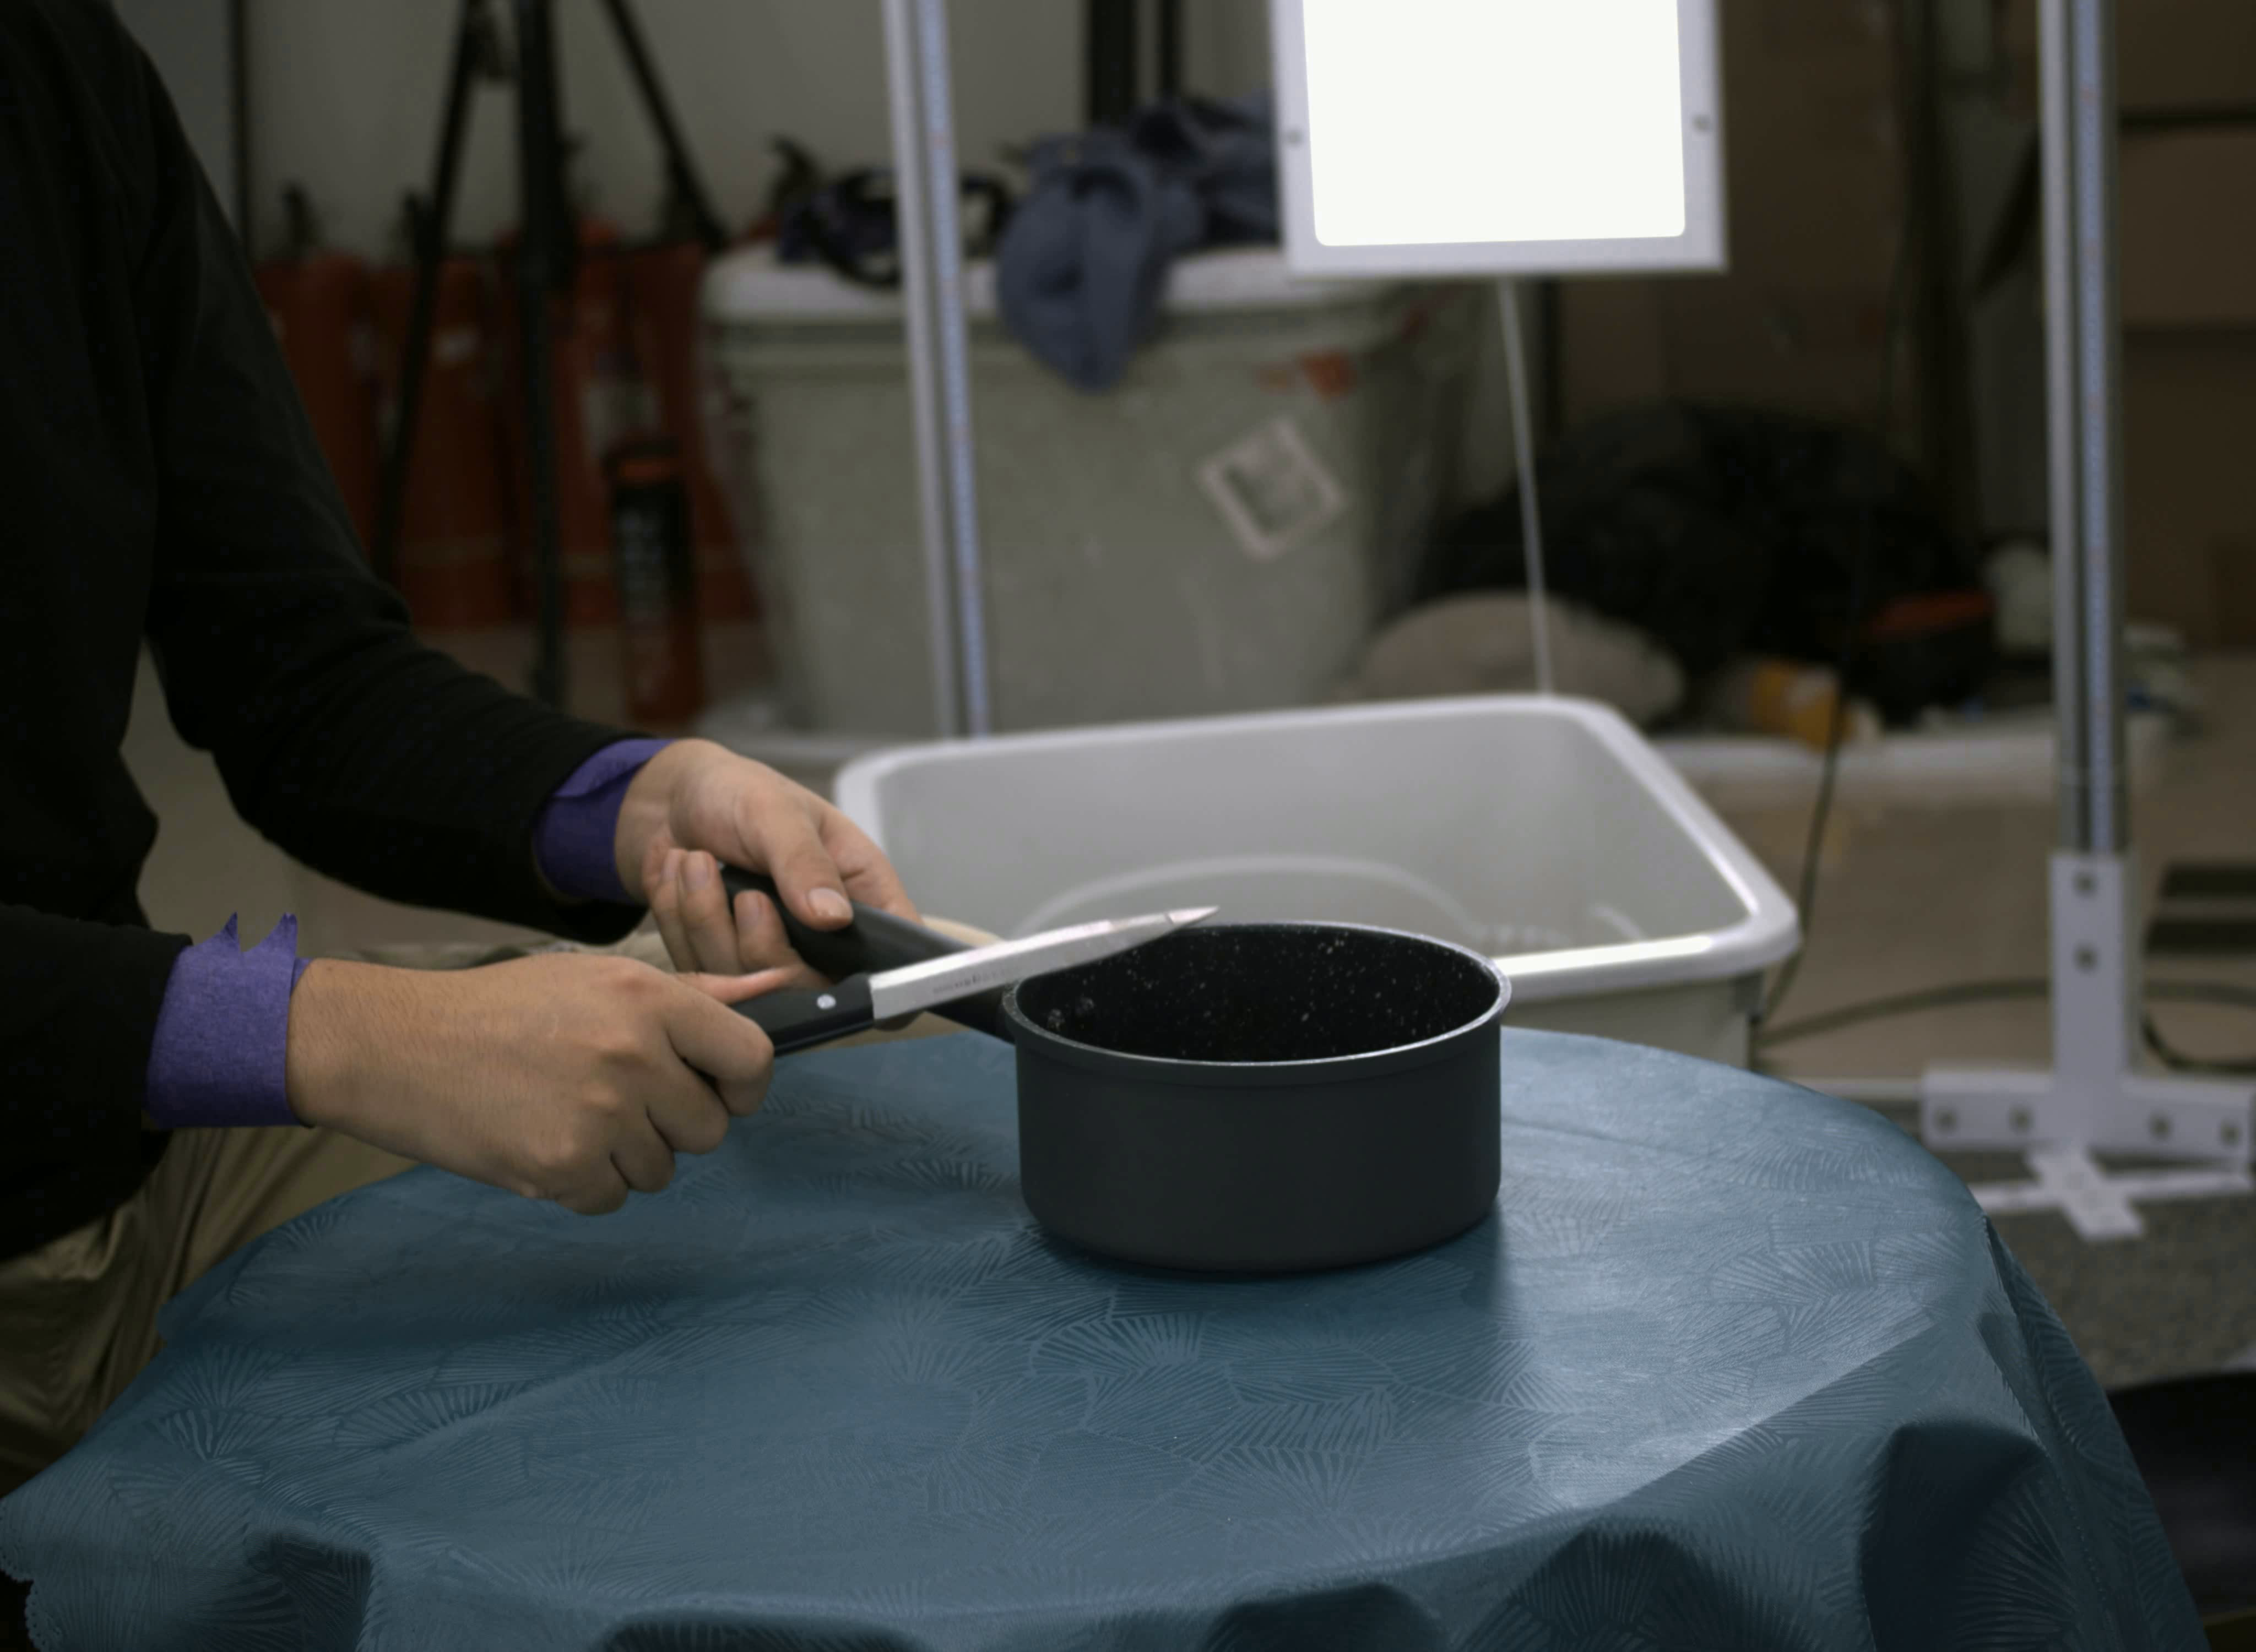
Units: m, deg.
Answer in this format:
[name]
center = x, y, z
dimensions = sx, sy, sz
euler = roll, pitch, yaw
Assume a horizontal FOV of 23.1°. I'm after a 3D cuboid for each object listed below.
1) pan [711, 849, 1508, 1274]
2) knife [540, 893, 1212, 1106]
[pan]
center = -0.018, 0.076, 1.906
dimensions = 0.335, 0.087, 0.167
euler = 11, 20, 40
[knife]
center = -0.083, 0.056, 1.862
dimensions = 0.236, 0.016, 0.024
euler = -15, 41, -8
